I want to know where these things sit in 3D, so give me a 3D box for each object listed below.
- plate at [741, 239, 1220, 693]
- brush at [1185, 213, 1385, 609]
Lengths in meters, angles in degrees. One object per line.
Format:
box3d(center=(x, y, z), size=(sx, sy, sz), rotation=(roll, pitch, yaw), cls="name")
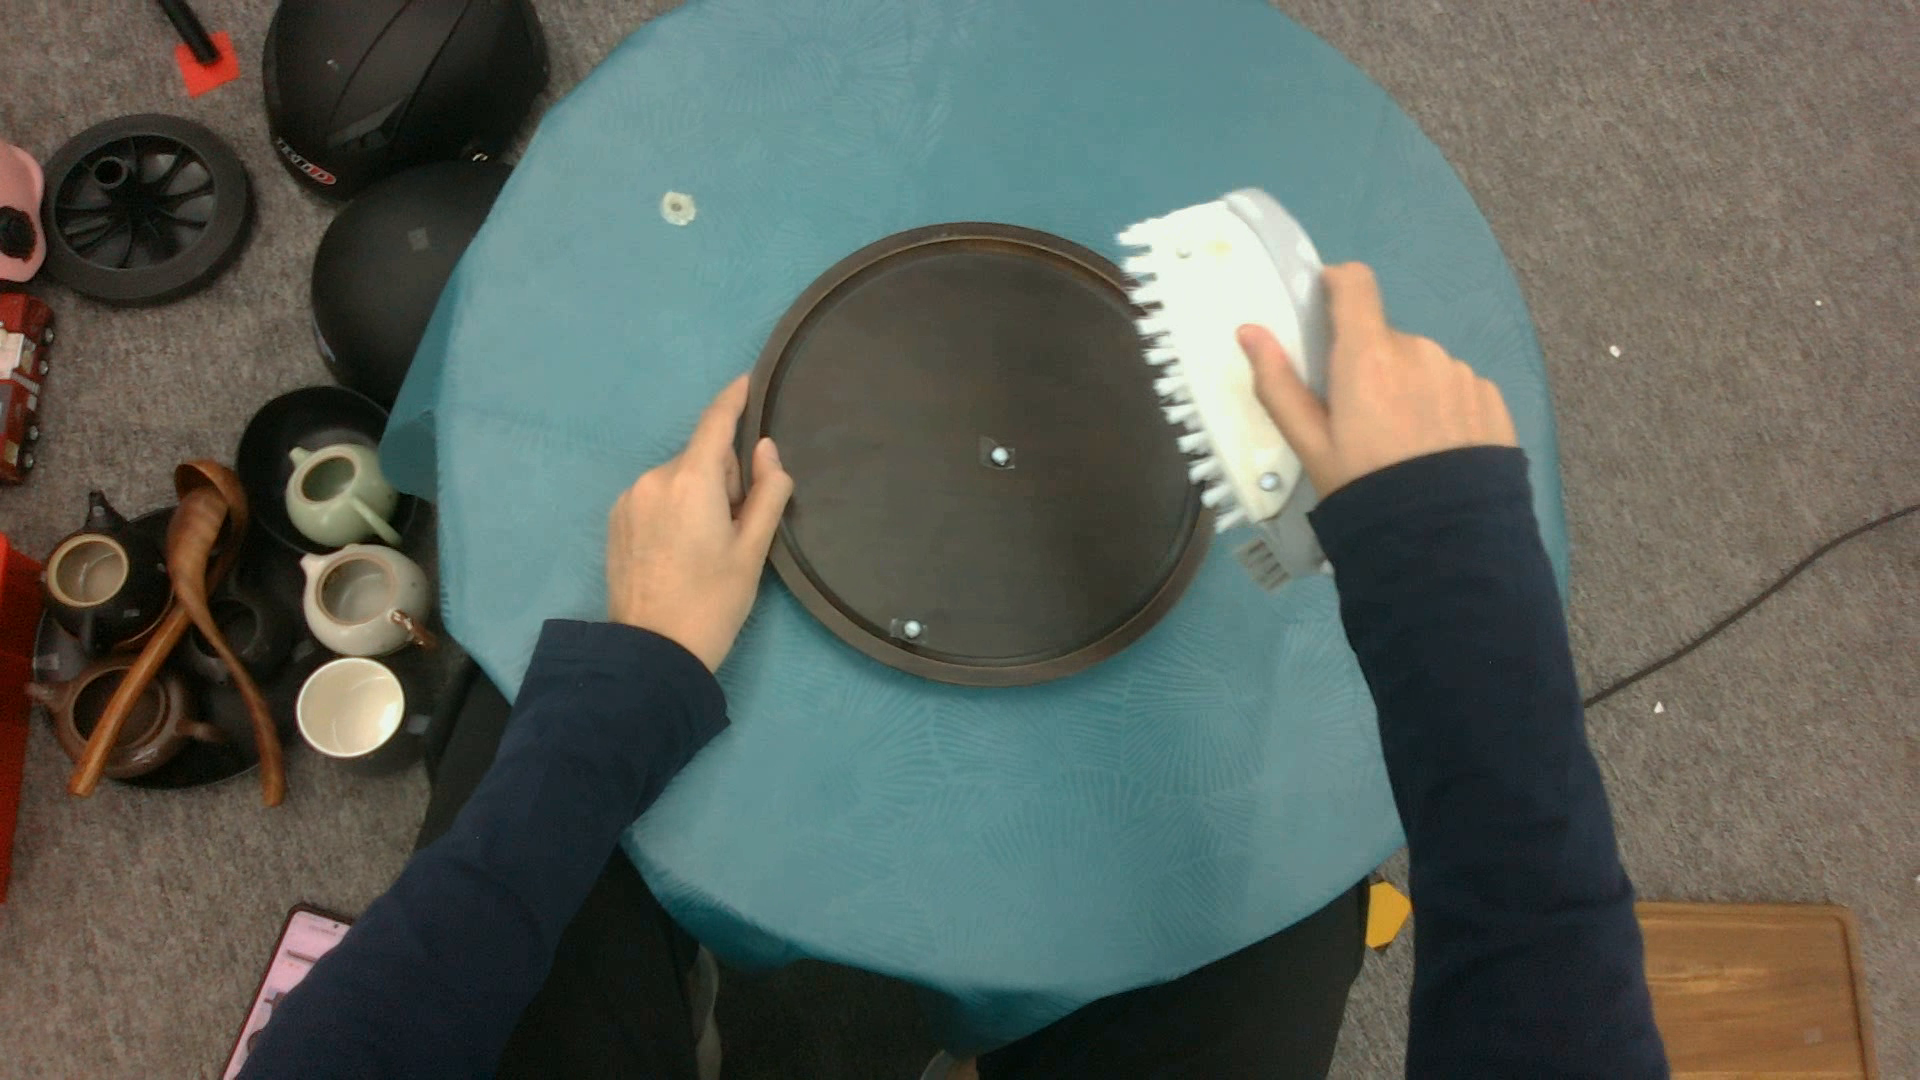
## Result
box3d(center=(0.012, -0.043, 0.728), size=(0.255, 0.029, 0.255), rotation=(2, 72, -7), cls="plate")
box3d(center=(0.151, -0.055, 0.599), size=(0.061, 0.094, 0.175), rotation=(-9, 92, -21), cls="brush")
